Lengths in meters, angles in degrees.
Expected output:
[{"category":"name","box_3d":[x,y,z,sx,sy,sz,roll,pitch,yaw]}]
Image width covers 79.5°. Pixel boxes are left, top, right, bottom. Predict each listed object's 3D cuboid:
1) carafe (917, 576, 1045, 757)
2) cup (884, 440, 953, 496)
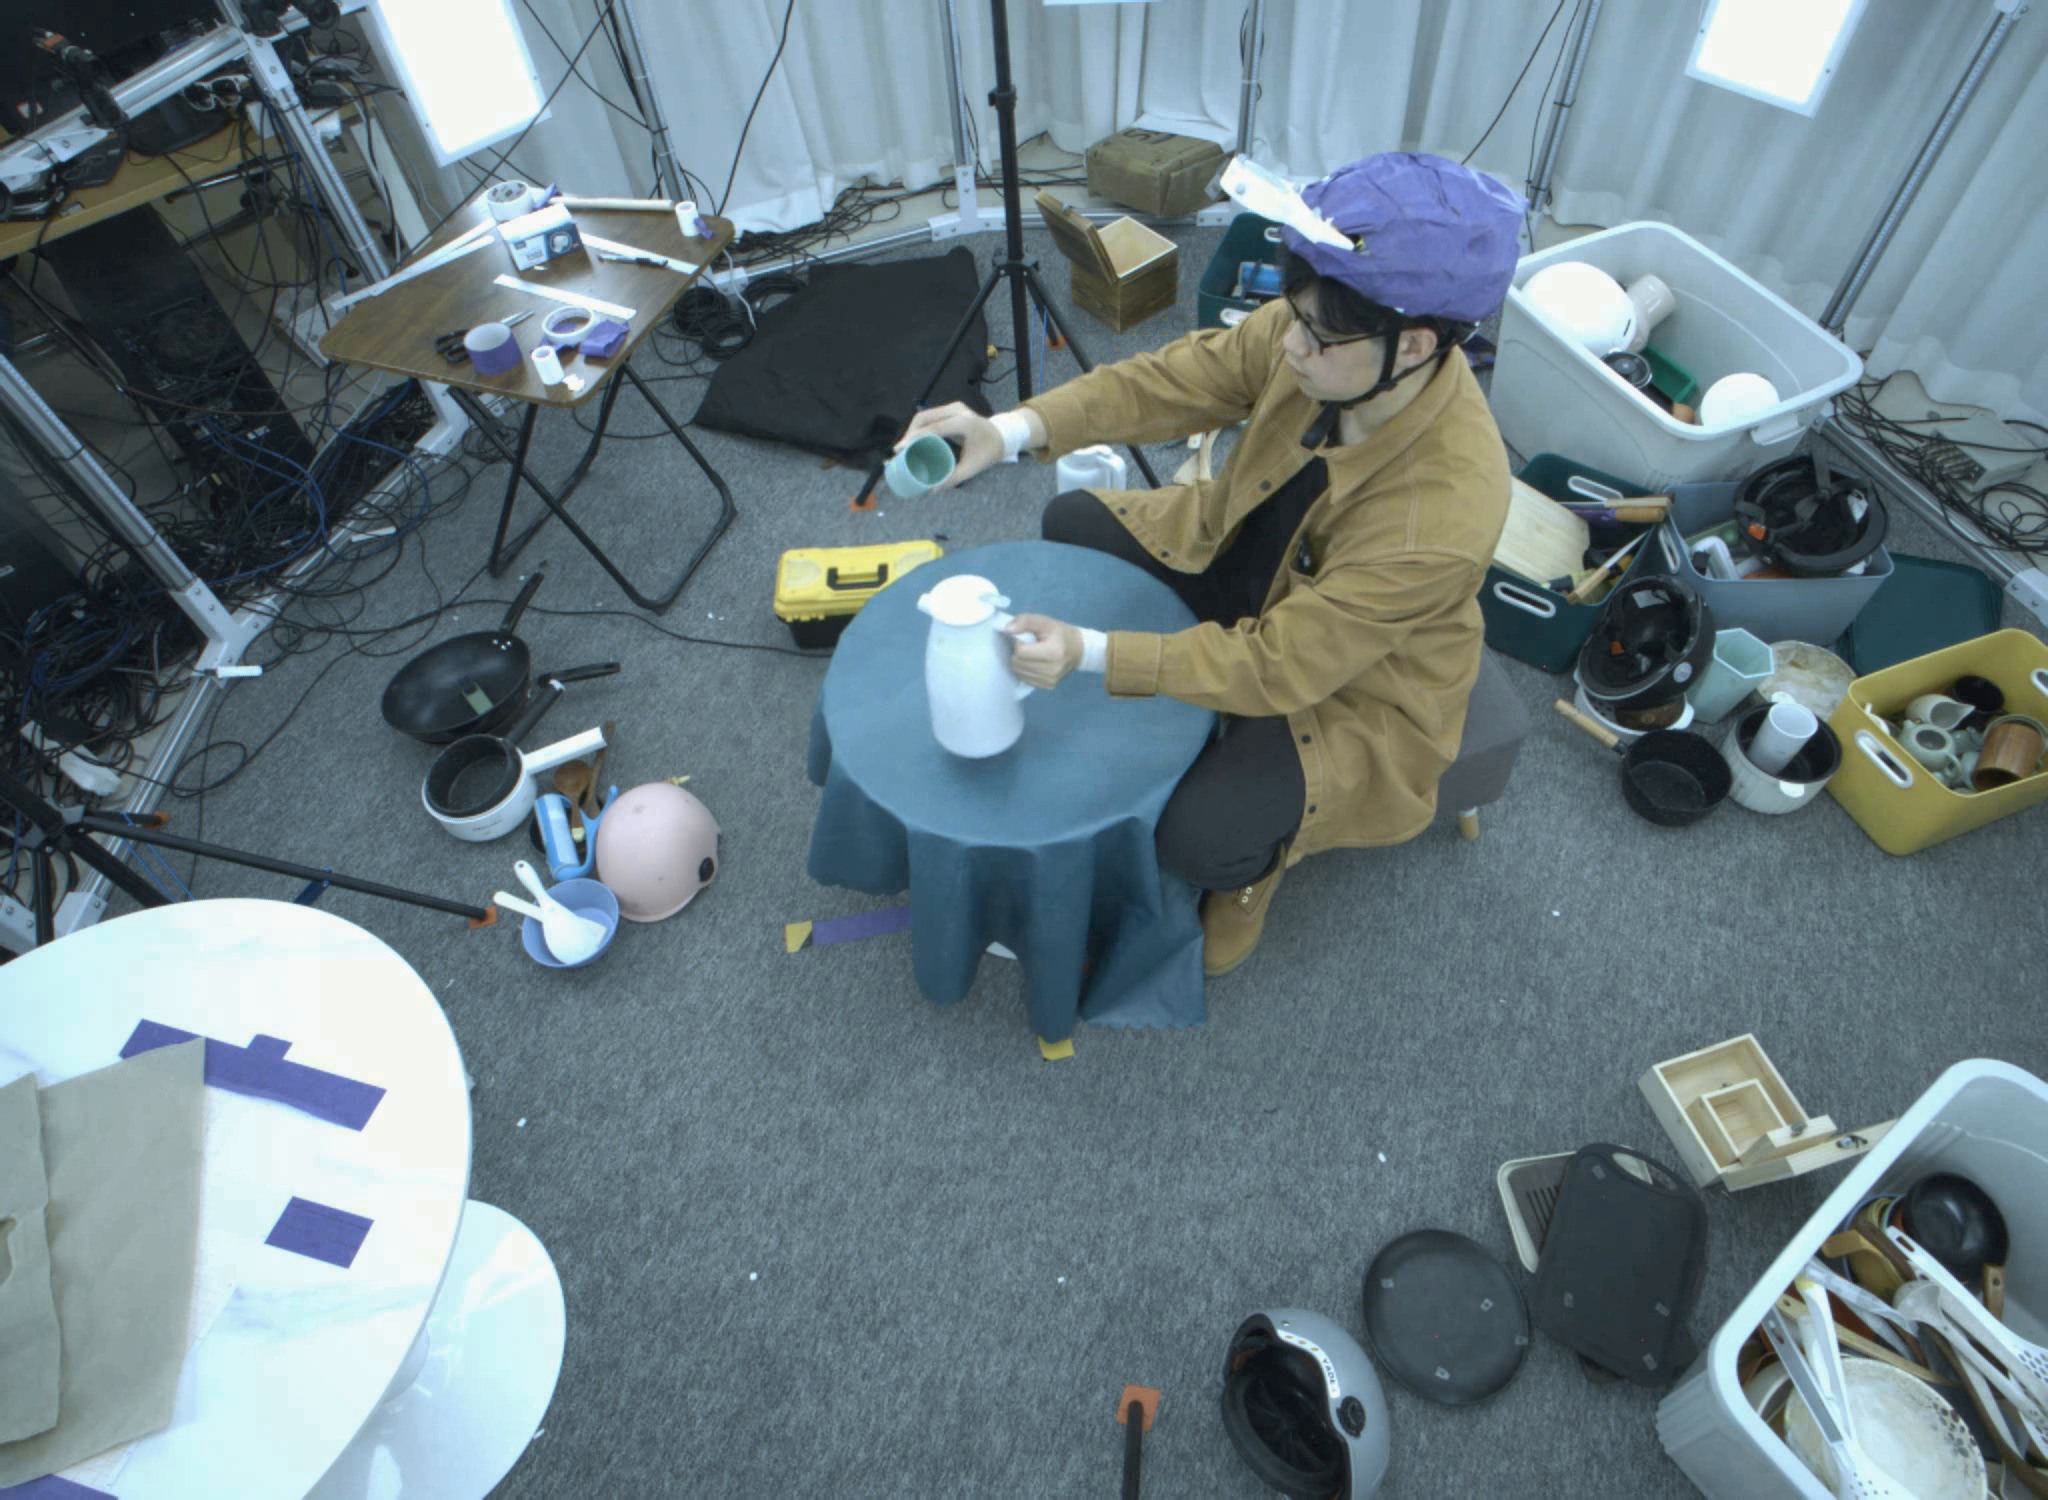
[{"category":"carafe","box_3d":[-0.053,-0.114,1.642,0.166,0.251,0.132,13,54,12]},{"category":"cup","box_3d":[-0.141,-0.369,1.584,0.067,0.067,0.130,-26,15,-14]}]
